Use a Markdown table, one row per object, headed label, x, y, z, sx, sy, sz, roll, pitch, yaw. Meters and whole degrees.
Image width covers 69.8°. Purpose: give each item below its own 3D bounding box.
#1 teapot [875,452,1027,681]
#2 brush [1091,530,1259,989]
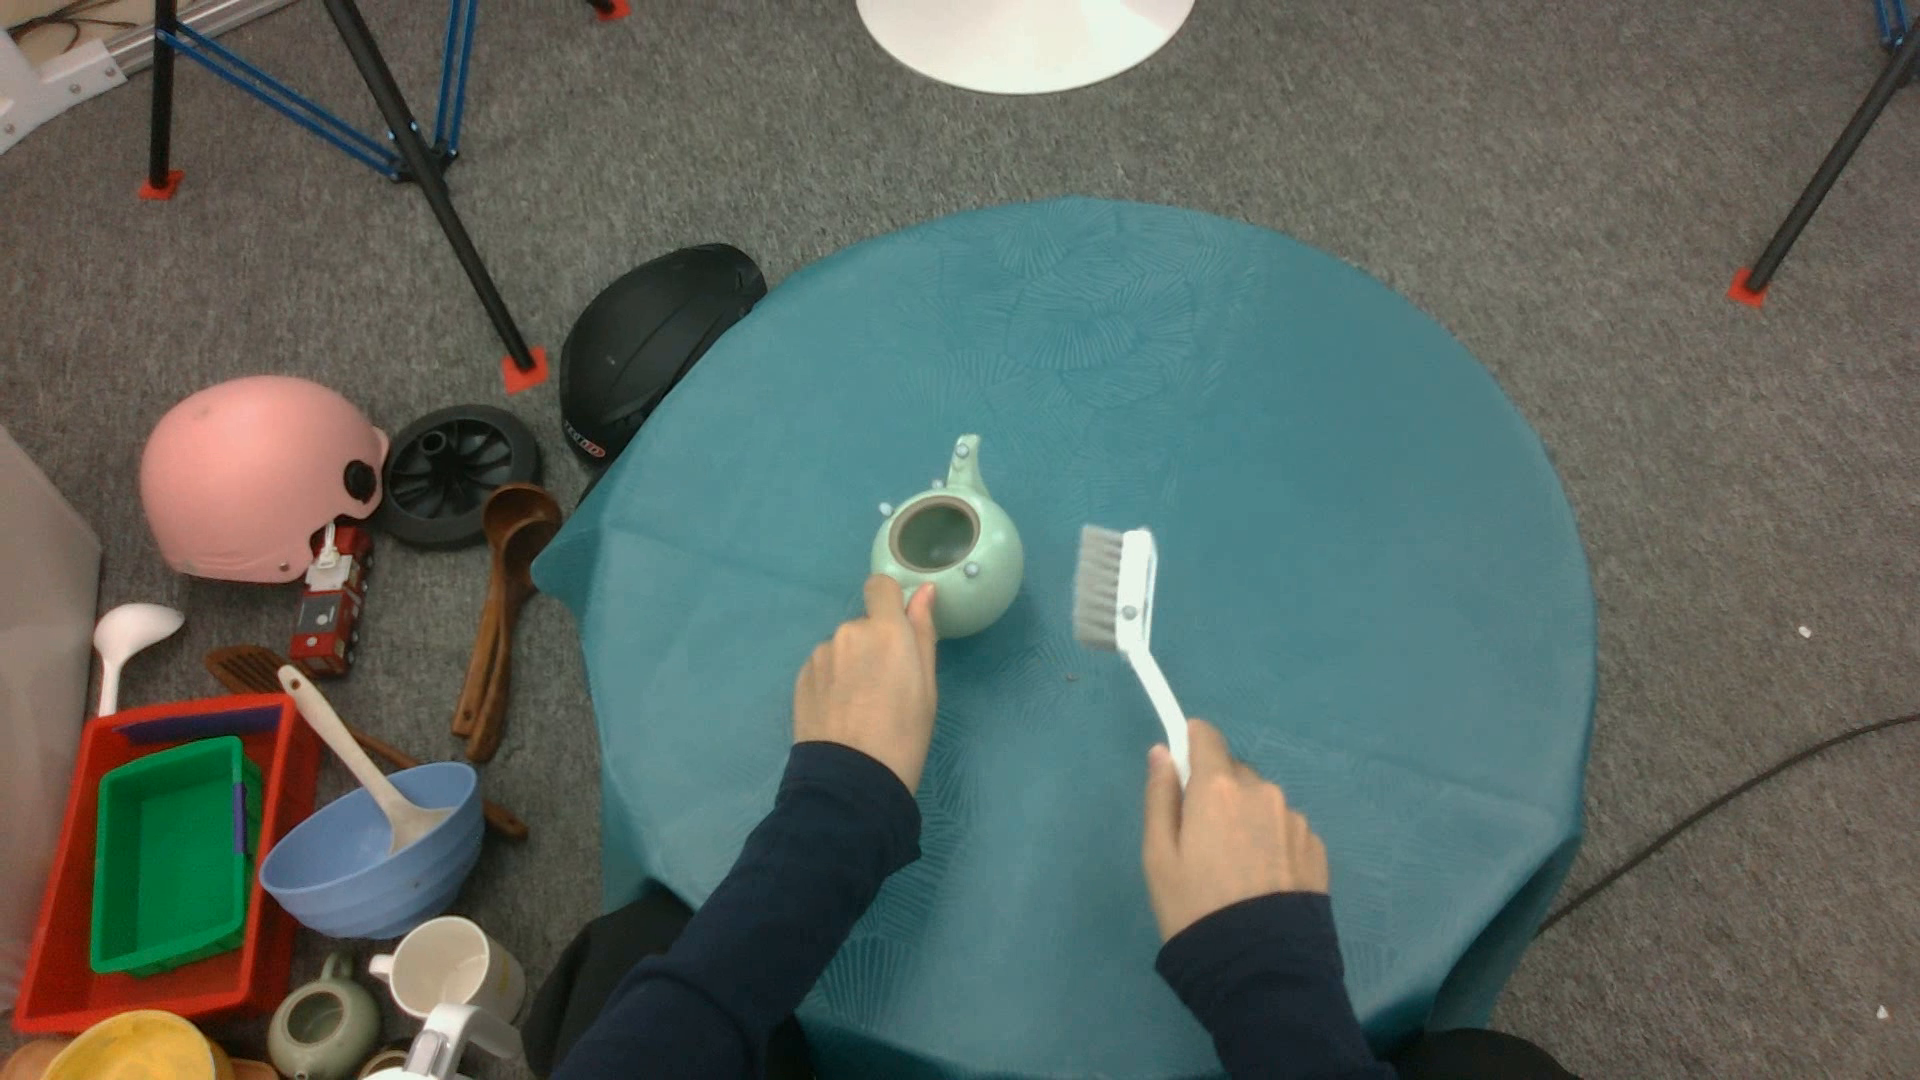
| label | x | y | z | sx | sy | sz | roll | pitch | yaw |
| --- | --- | --- | --- | --- | --- | --- | --- | --- | --- |
| teapot | -0.005 | 0.023 | 0.798 | 0.088 | 0.074 | 0.144 | 10 | 56 | 21 |
| brush | 0.103 | 0.105 | 0.698 | 0.050 | 0.034 | 0.244 | -11 | 63 | 5 |
